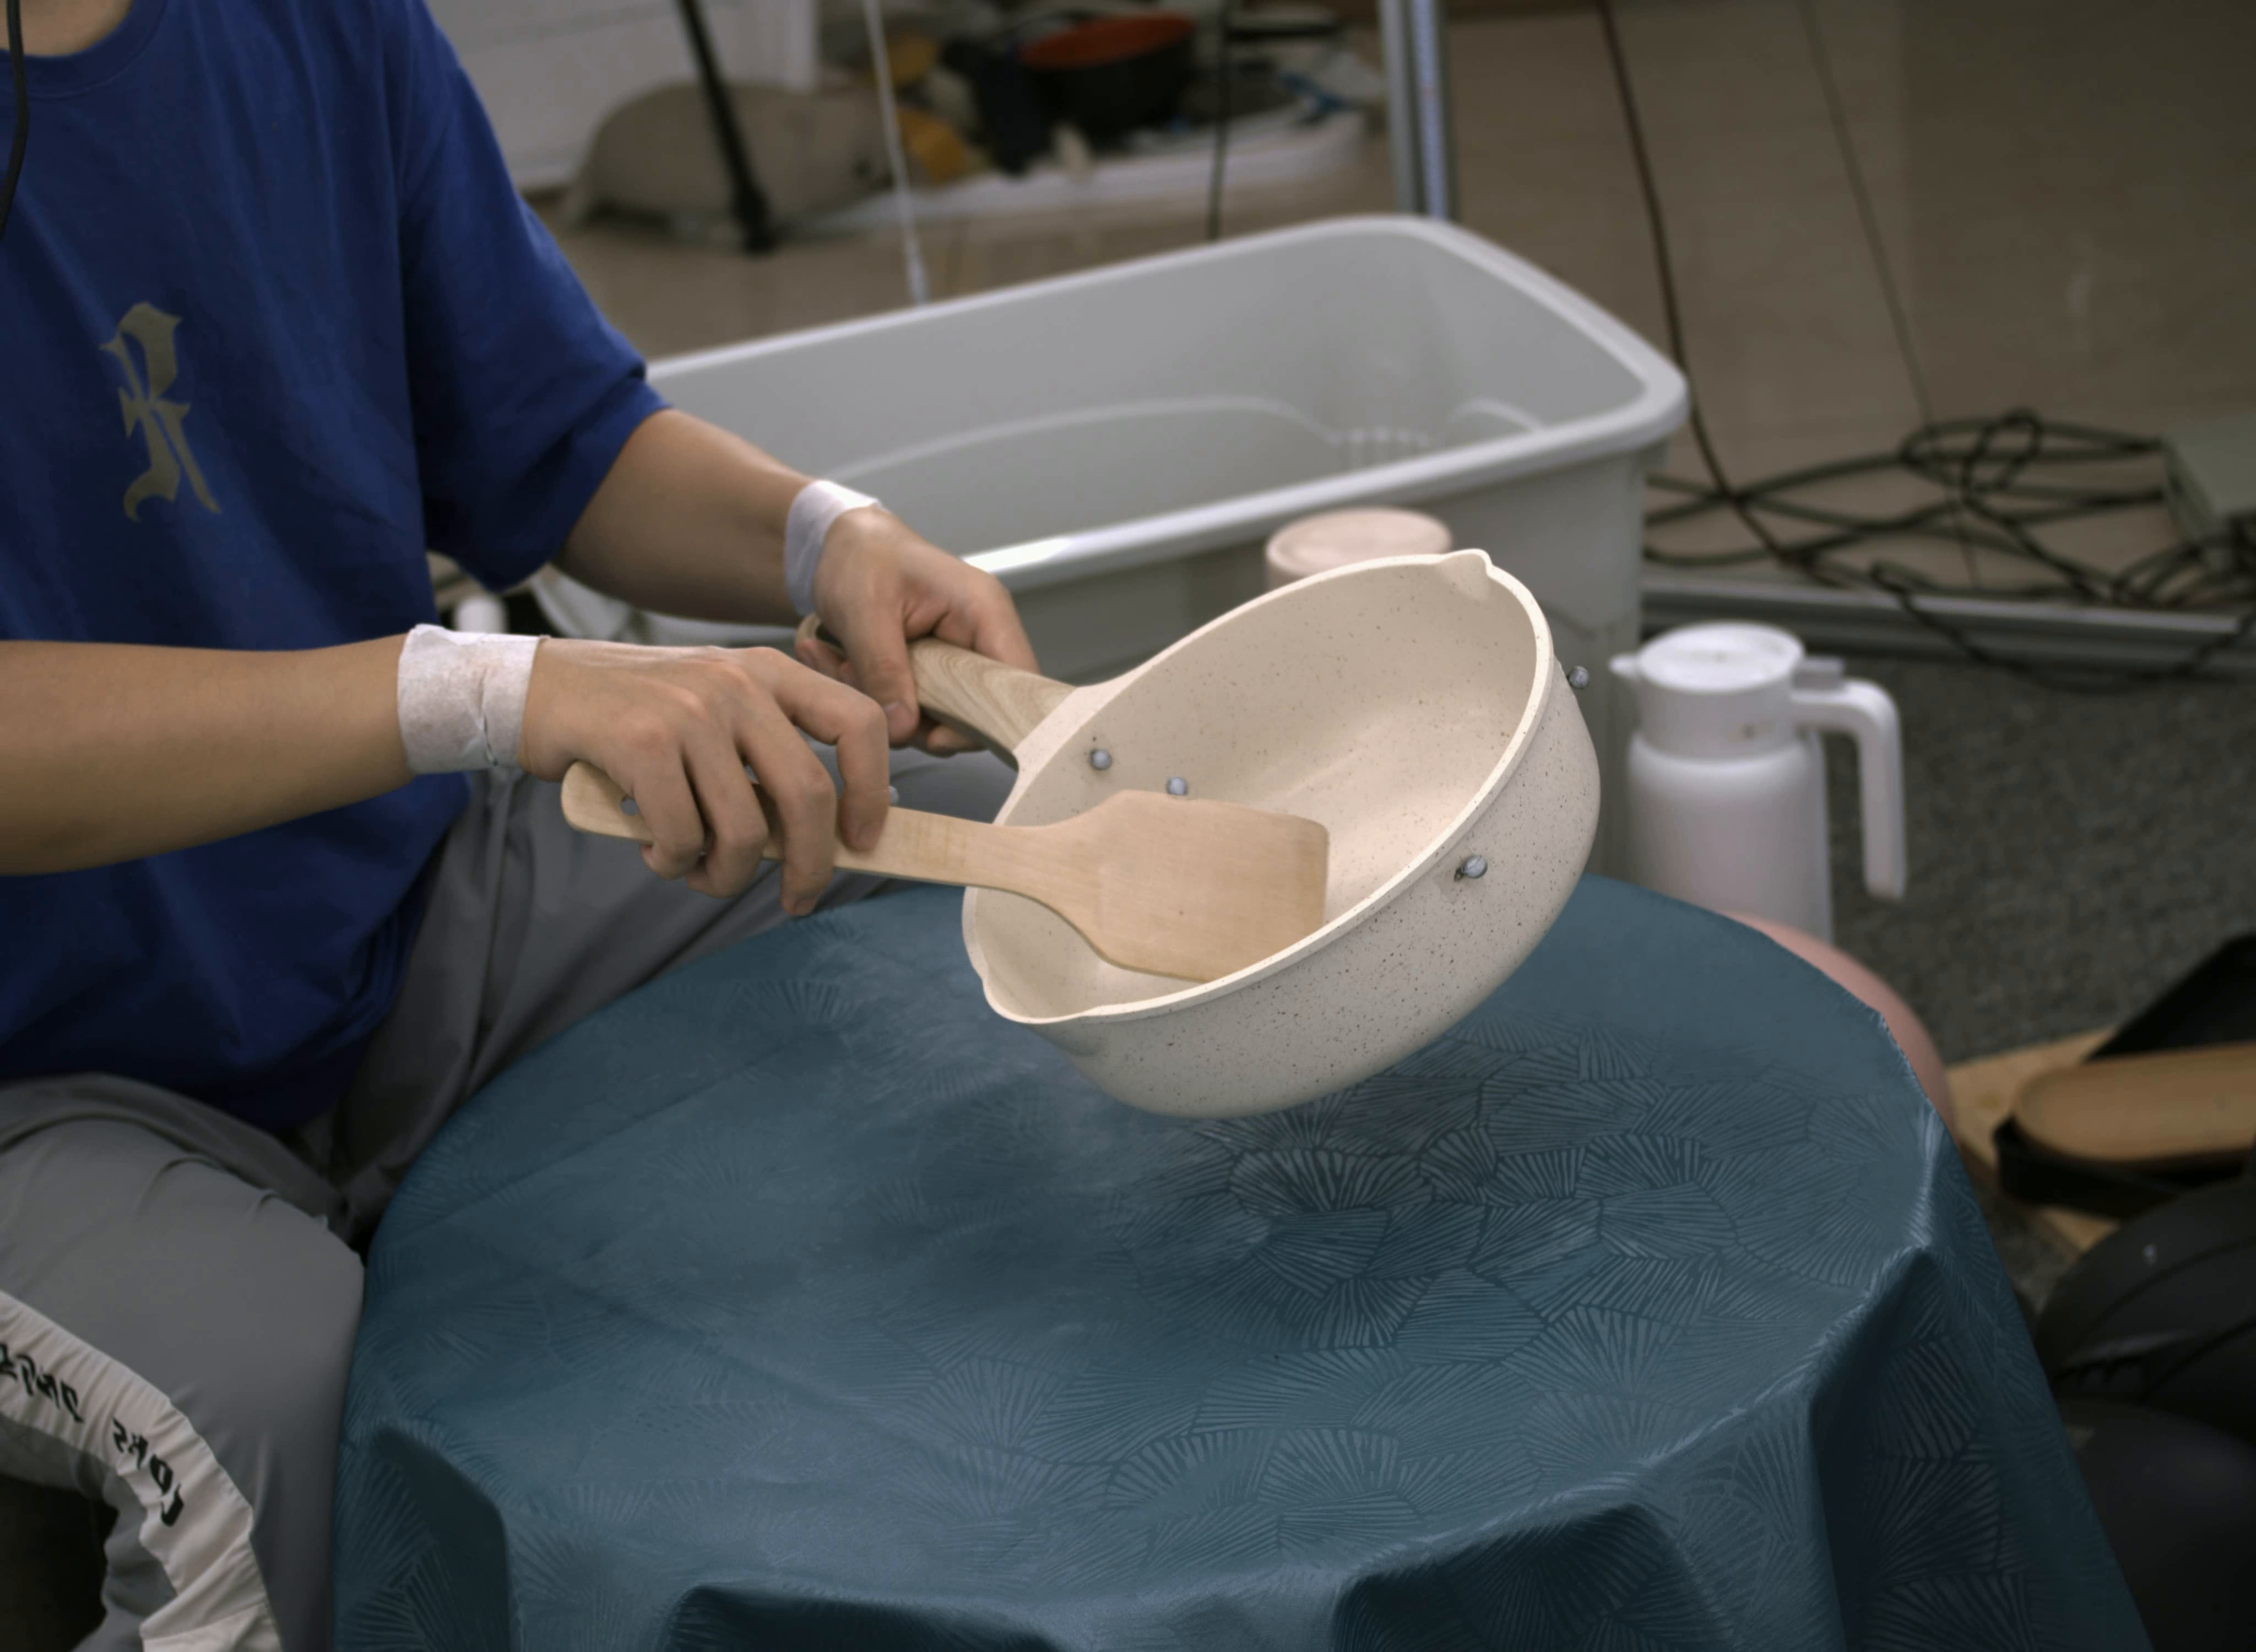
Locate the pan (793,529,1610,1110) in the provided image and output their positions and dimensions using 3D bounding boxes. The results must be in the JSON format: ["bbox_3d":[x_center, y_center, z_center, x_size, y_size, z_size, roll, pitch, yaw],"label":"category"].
[{"bbox_3d":[0.014,-0.013,2.203,0.261,0.103,0.432,-48,31,-18],"label":"pan"}]

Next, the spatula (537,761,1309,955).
[{"bbox_3d":[-0.073,0.003,2.098,0.293,0.072,0.011,5,-10,-13],"label":"spatula"}]
